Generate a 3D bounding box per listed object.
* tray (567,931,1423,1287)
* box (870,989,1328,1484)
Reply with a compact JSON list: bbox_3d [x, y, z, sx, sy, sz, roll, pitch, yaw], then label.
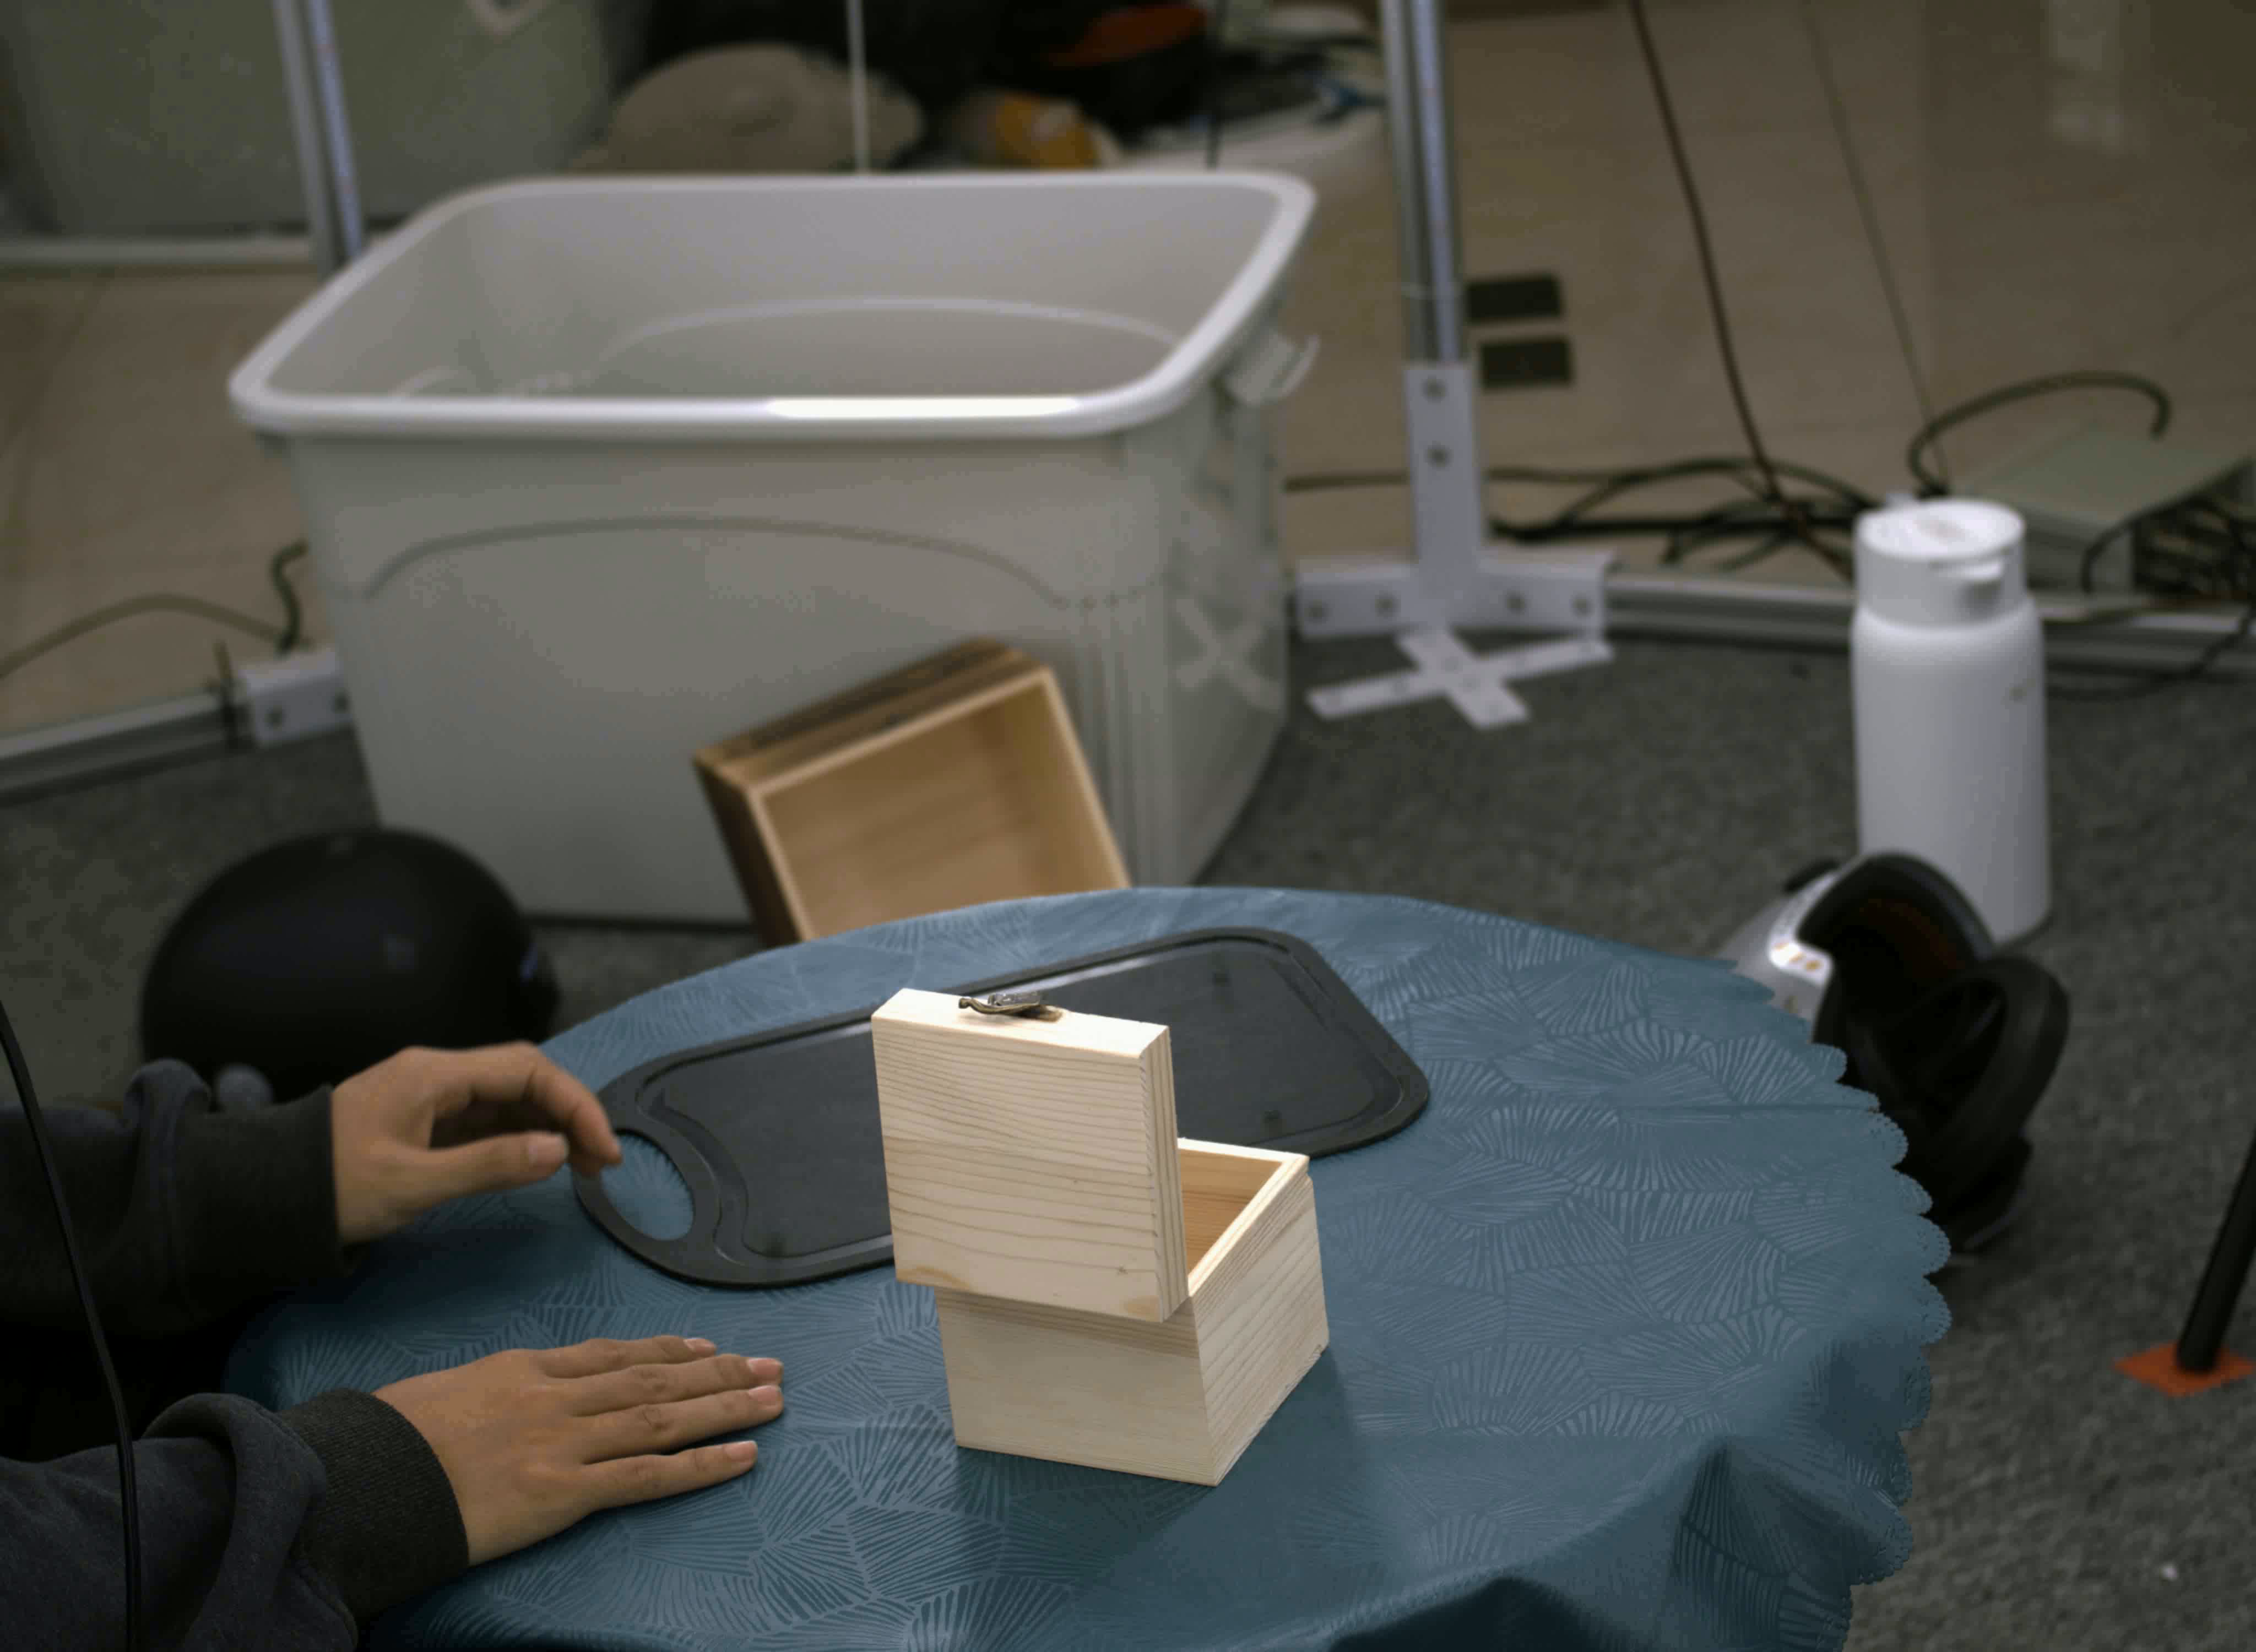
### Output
[{"bbox_3d":[-0.058,0.108,2.219,0.324,0.010,0.208,-13,25,-13],"label":"tray"},{"bbox_3d":[-0.007,0.123,1.961,0.102,0.187,0.132,7,30,24],"label":"box"}]
